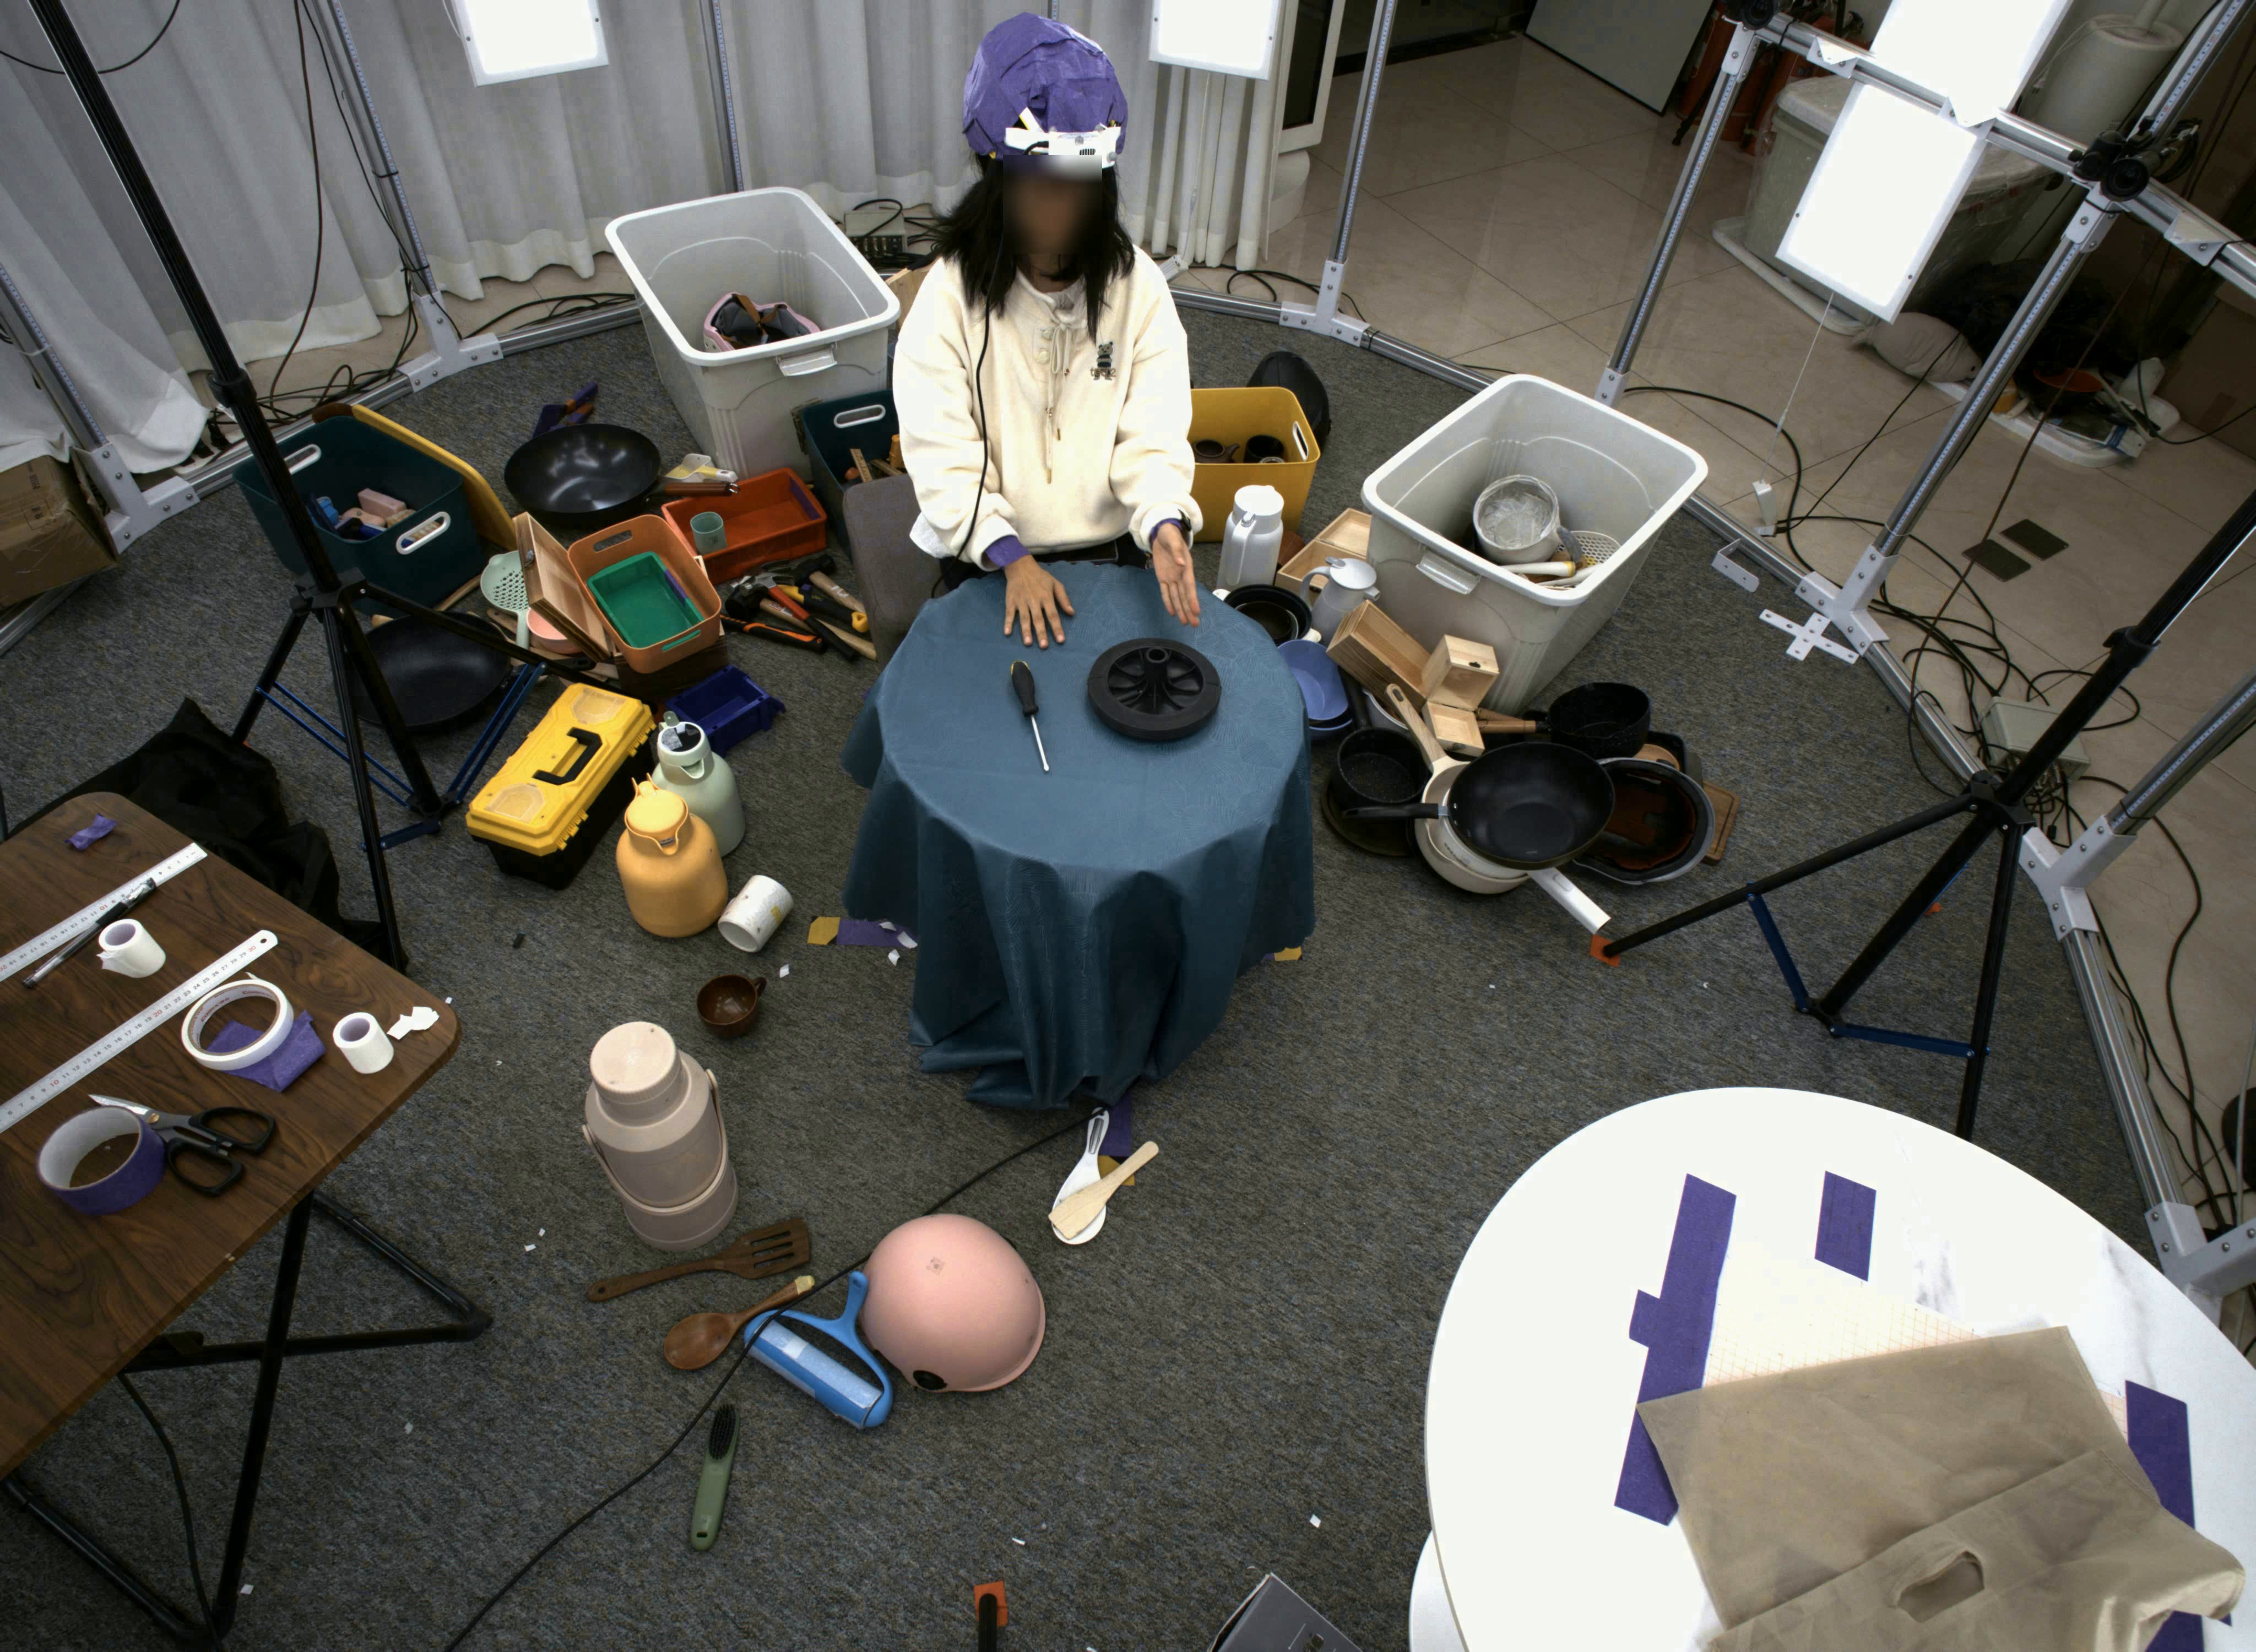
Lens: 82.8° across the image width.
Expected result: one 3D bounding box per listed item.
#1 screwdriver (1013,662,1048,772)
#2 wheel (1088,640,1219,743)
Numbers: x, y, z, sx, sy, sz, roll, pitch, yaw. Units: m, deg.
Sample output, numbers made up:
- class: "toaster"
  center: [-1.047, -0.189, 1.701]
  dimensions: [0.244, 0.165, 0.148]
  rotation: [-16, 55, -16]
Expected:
- class: "screwdriver"
  center: [-0.128, -0.153, 1.778]
  dimensions: [0.031, 0.031, 0.201]
  rotation: [-10, 53, -13]
- class: "wheel"
  center: [0.036, -0.207, 1.804]
  dimensions: [0.189, 0.077, 0.192]
  rotation: [31, 56, 22]
